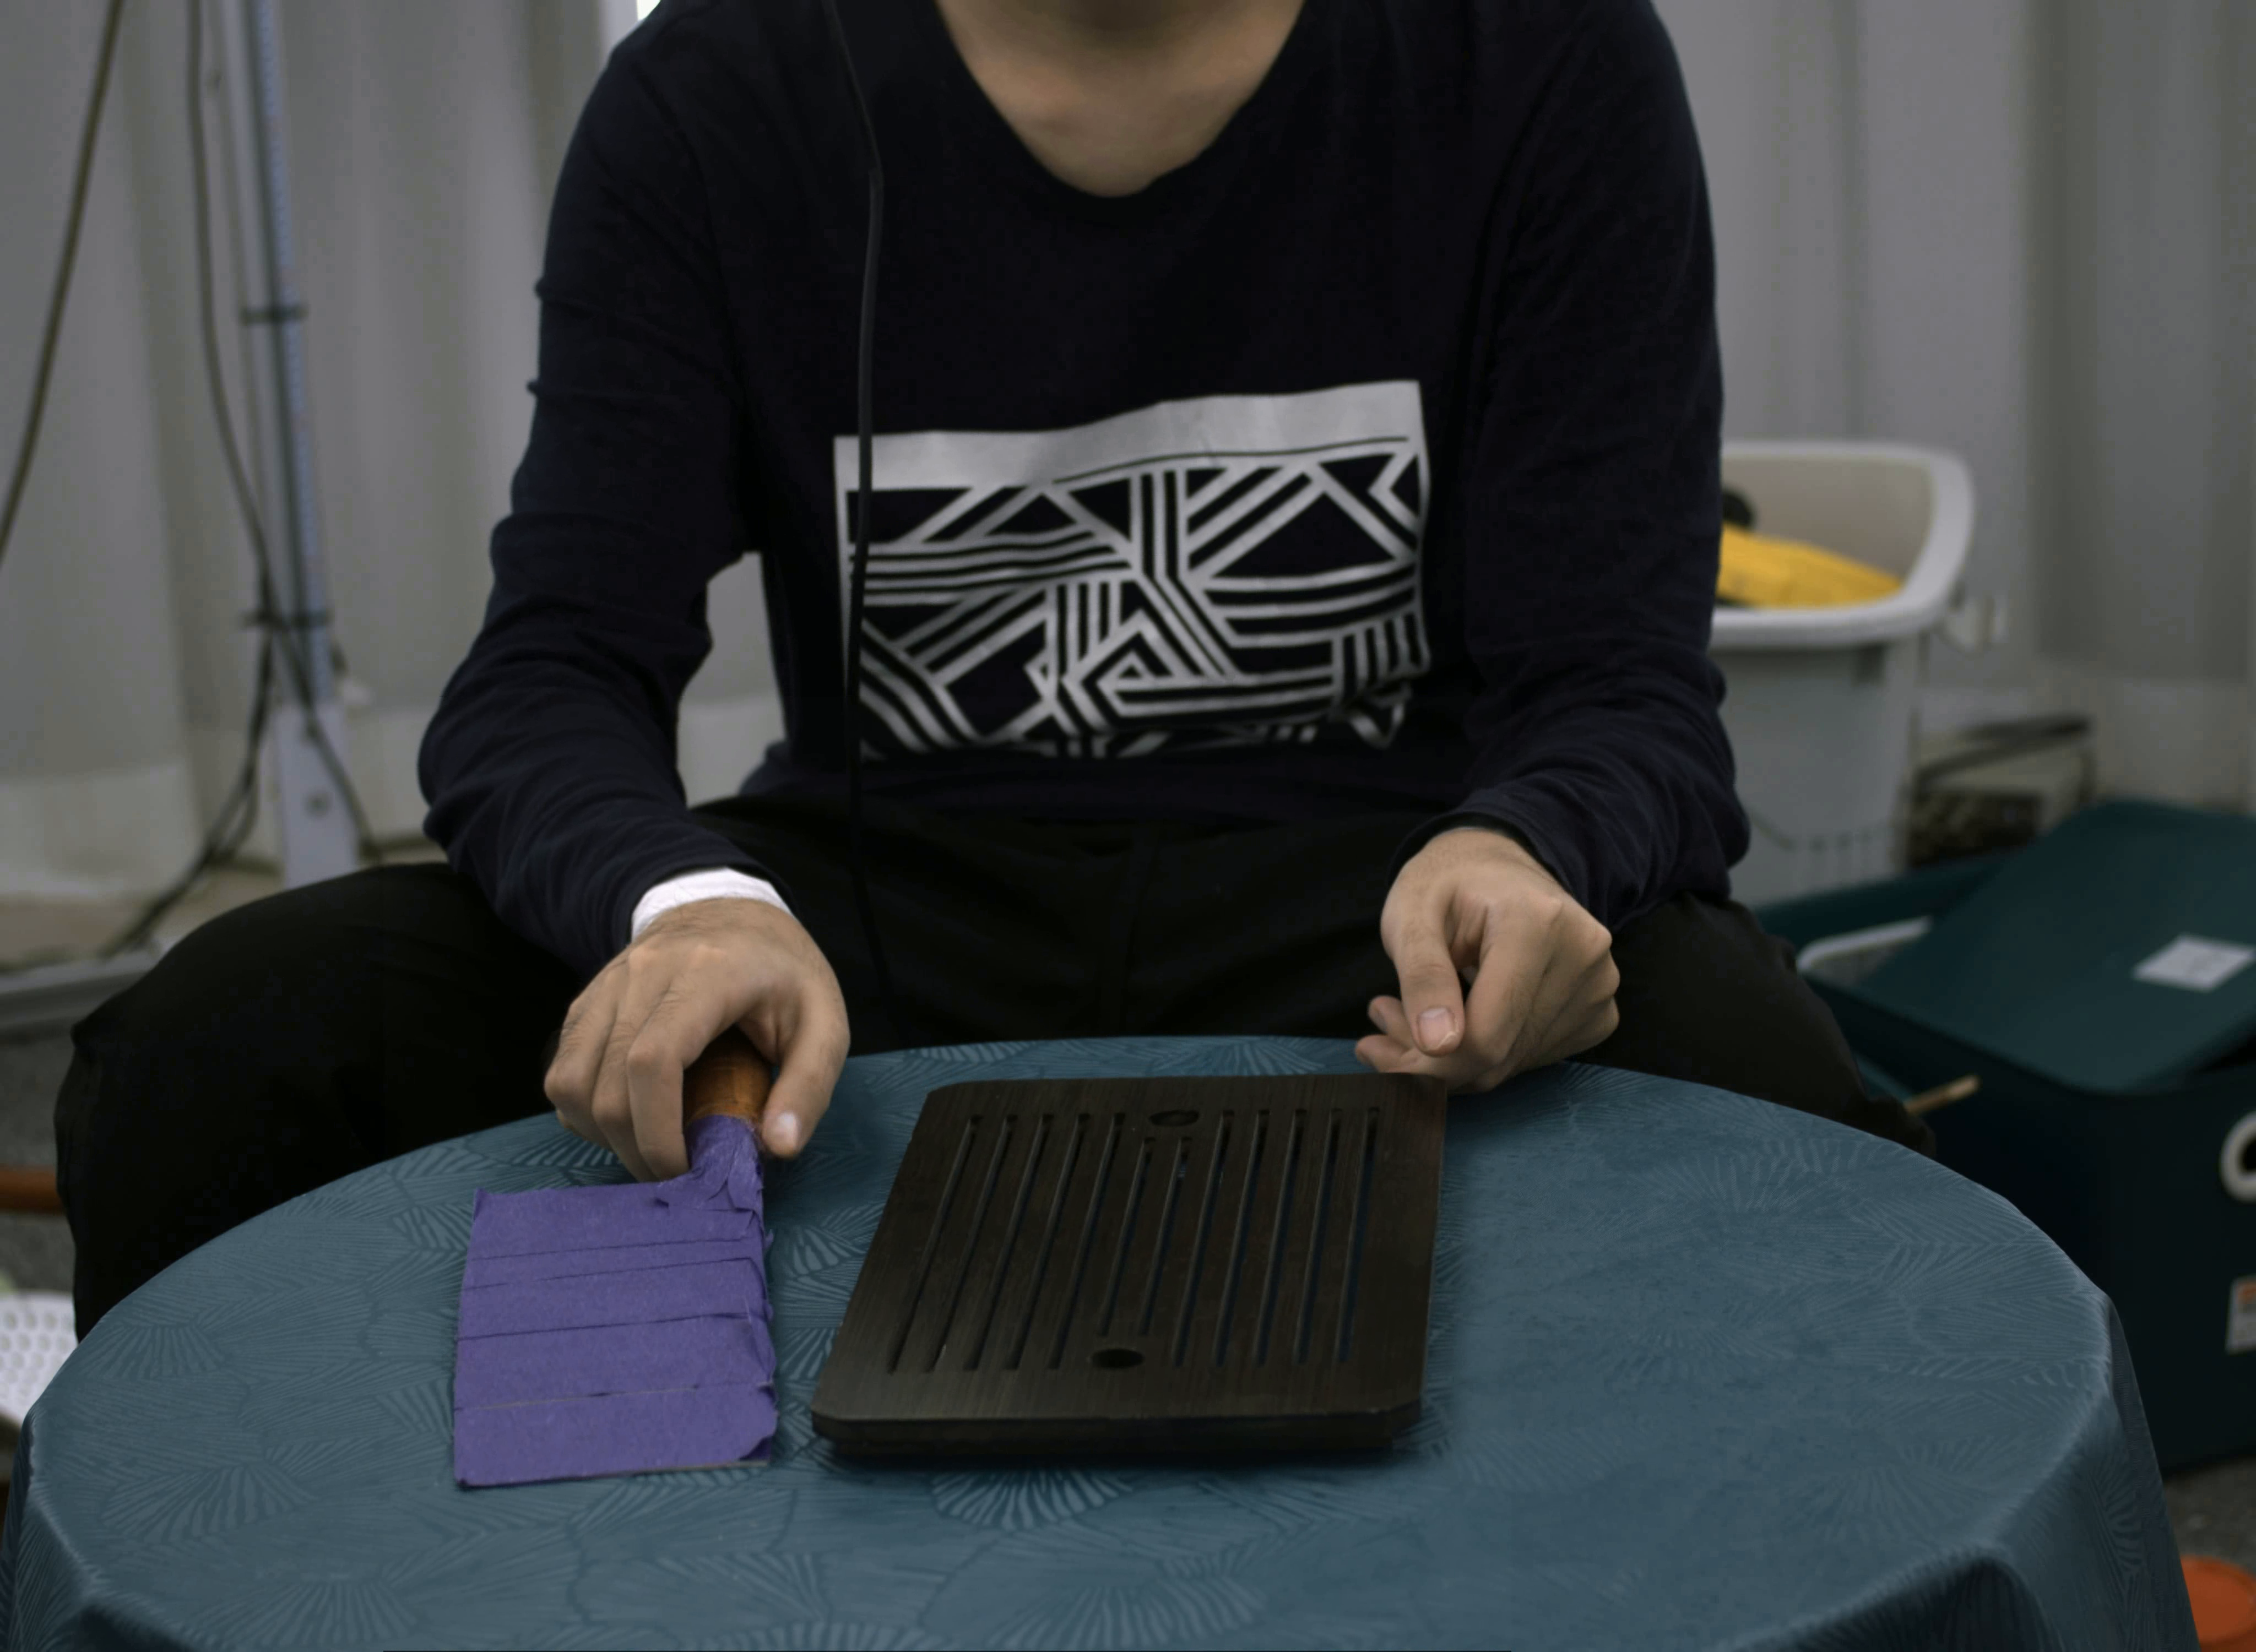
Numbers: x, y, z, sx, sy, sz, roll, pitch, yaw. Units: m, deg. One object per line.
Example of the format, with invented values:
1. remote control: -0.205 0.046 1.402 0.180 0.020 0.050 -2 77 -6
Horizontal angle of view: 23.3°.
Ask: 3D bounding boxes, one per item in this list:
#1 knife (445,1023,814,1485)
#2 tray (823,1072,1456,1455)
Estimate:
1. knife: -0.152 0.124 1.644 0.103 0.032 0.318 -3 17 -5
2. tray: 0.011 0.128 1.630 0.170 0.018 0.308 -1 15 5
